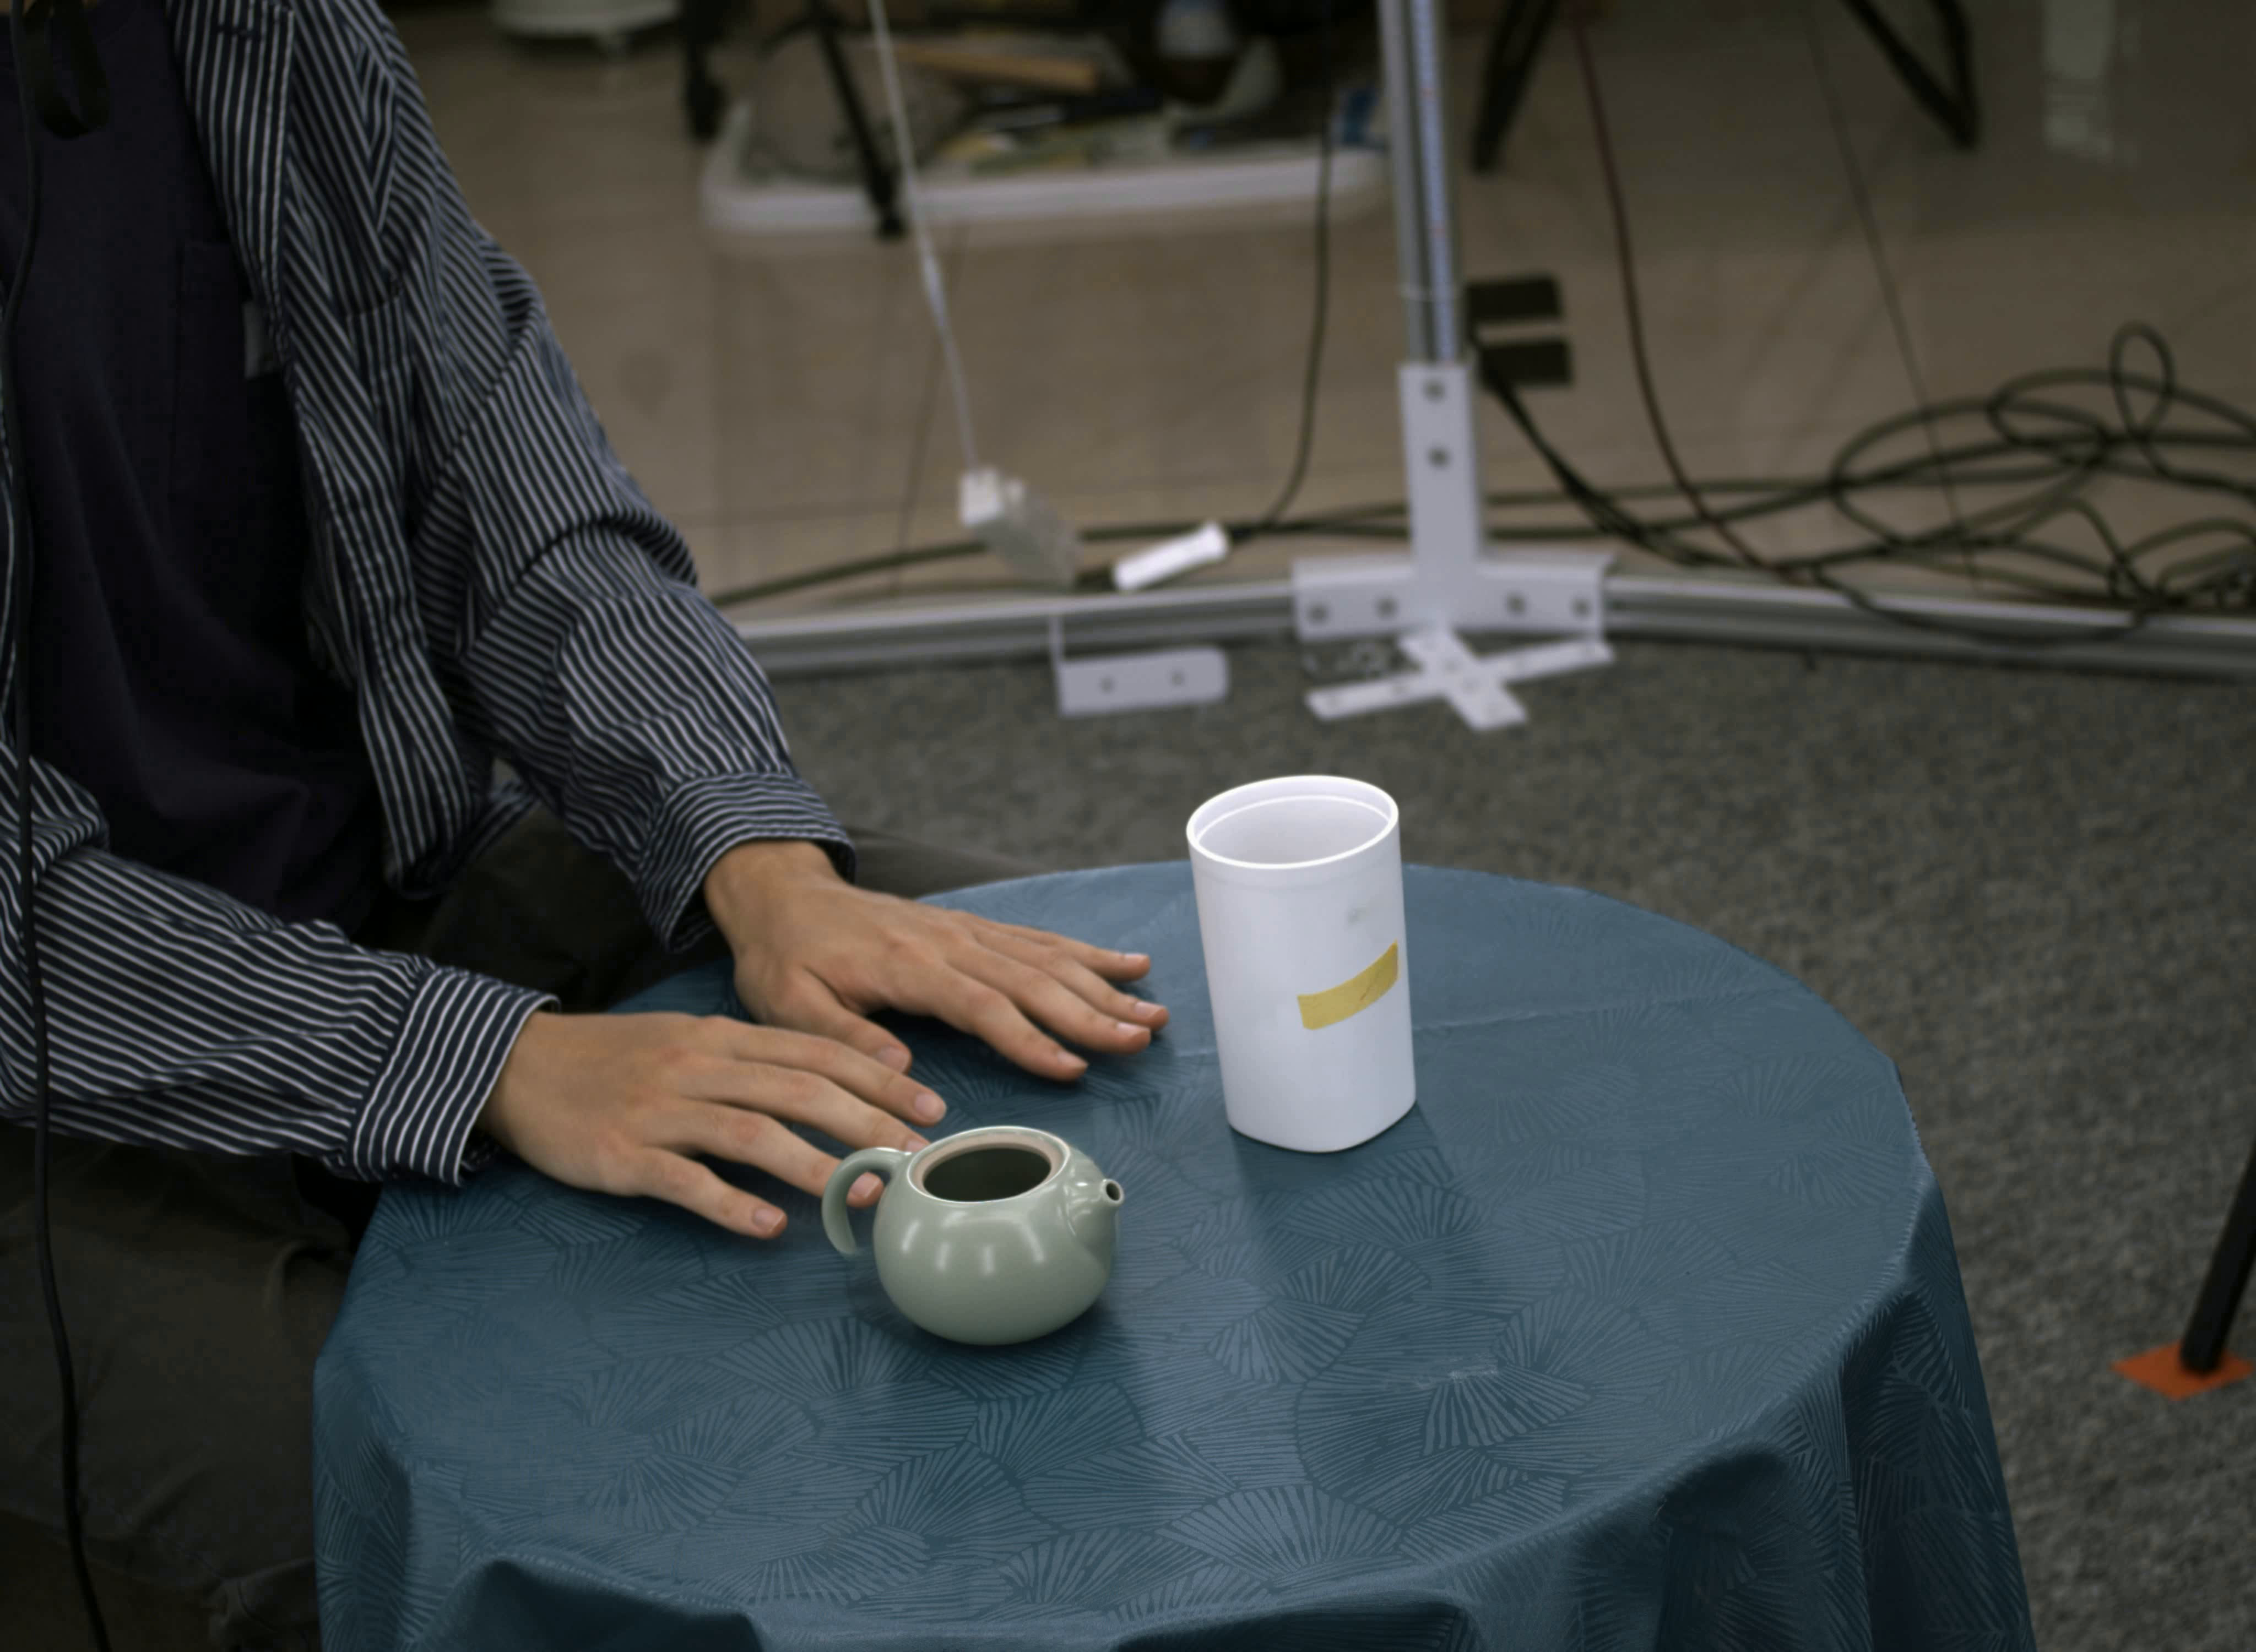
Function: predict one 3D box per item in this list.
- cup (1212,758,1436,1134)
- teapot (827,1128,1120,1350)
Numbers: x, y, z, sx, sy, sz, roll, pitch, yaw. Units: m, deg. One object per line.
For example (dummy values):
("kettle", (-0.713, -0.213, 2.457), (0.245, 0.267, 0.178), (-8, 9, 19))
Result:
("cup", (0.078, 0.047, 2.172), (0.081, 0.127, 0.080), (-5, 26, 3))
("teapot", (-0.056, 0.150, 2.073), (0.128, 0.062, 0.090), (9, 32, 31))
